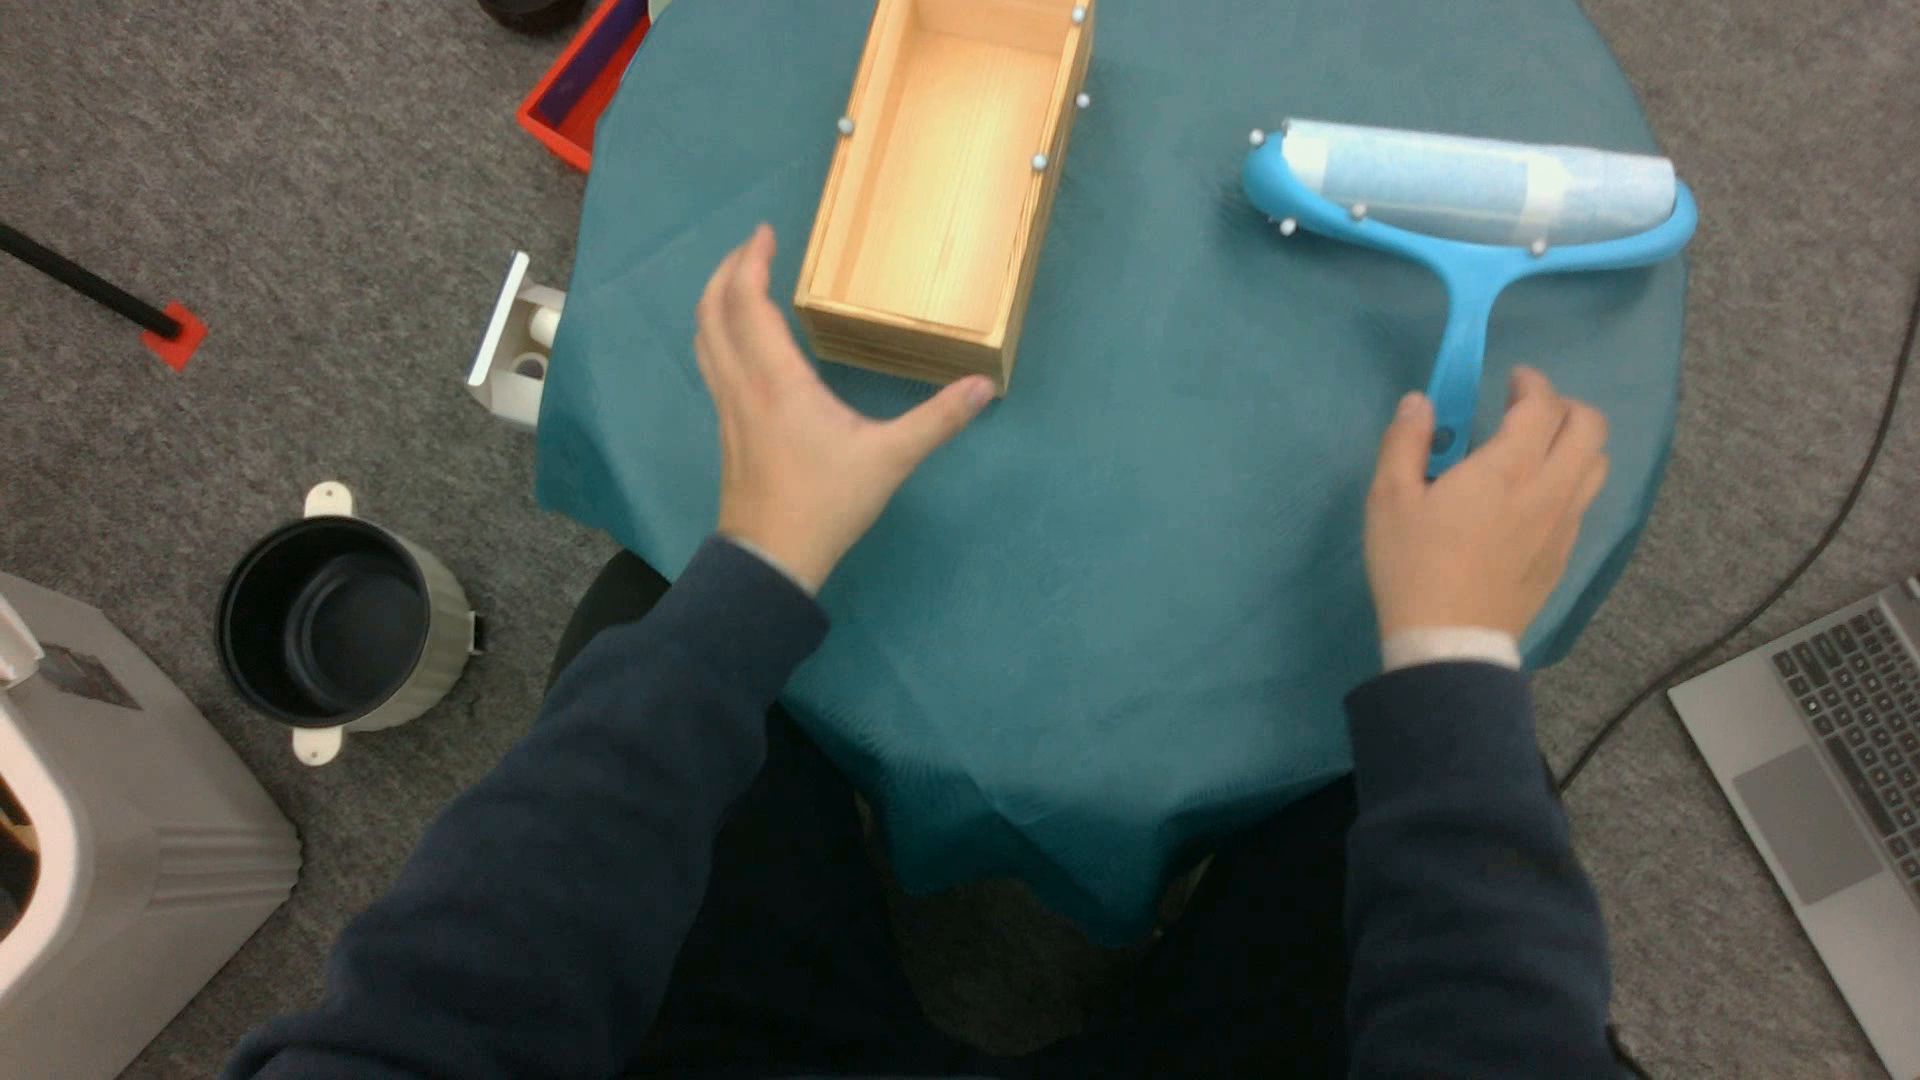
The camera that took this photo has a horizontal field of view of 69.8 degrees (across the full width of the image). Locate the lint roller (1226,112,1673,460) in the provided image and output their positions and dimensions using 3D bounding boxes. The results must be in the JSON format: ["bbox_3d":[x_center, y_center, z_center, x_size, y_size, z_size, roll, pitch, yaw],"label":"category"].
[{"bbox_3d":[0.252,-0.136,0.716,0.229,0.068,0.180,4,76,3],"label":"lint roller"}]

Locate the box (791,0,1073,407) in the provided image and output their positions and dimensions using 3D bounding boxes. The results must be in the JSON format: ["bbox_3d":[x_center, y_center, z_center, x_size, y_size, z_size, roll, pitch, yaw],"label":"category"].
[{"bbox_3d":[-0.010,-0.189,0.736,0.107,0.080,0.212,10,78,7],"label":"box"}]
